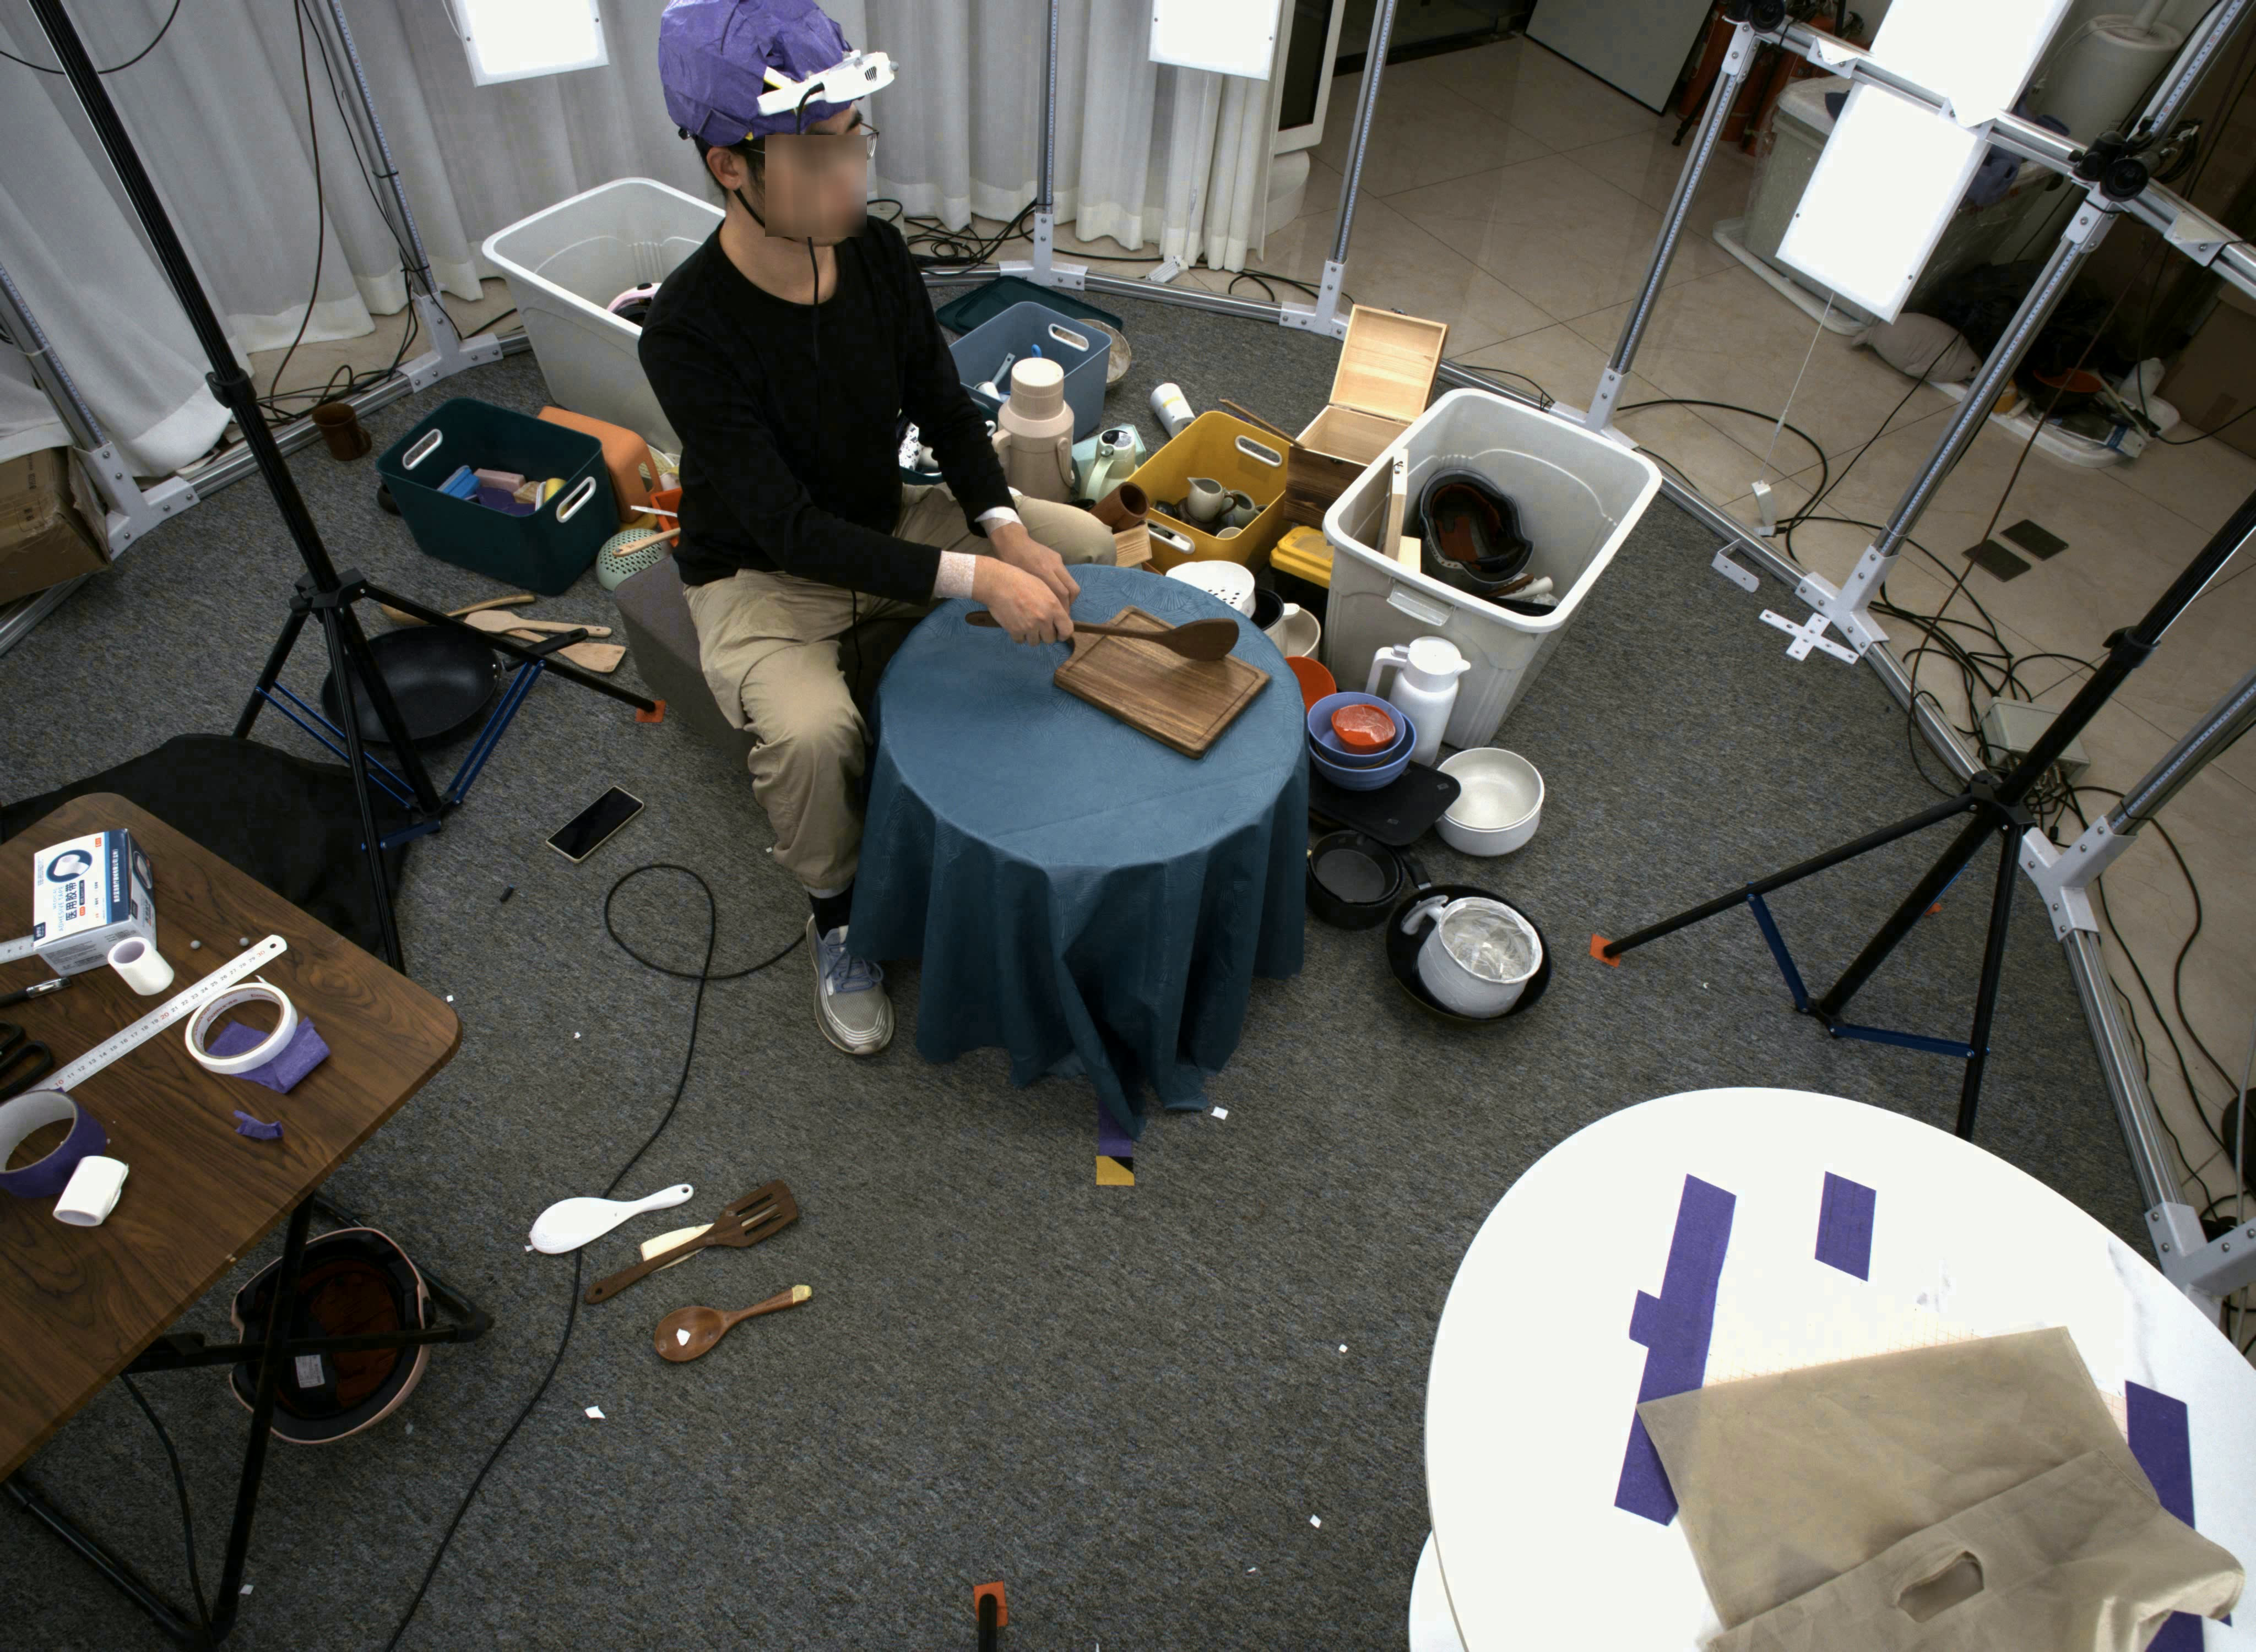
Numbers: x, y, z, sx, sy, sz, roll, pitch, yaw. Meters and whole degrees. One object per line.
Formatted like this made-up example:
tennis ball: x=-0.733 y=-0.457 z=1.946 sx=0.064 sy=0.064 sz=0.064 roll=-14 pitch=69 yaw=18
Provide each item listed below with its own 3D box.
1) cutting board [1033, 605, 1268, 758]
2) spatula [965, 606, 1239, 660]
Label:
cutting board: x=0.008 y=-0.236 z=1.862 sx=0.356 sy=0.022 sz=0.204 roll=29 pitch=53 yaw=20
spatula: x=-0.034 y=-0.278 z=1.803 sx=0.385 sy=0.094 sz=0.016 roll=5 pitch=60 yaw=-9
